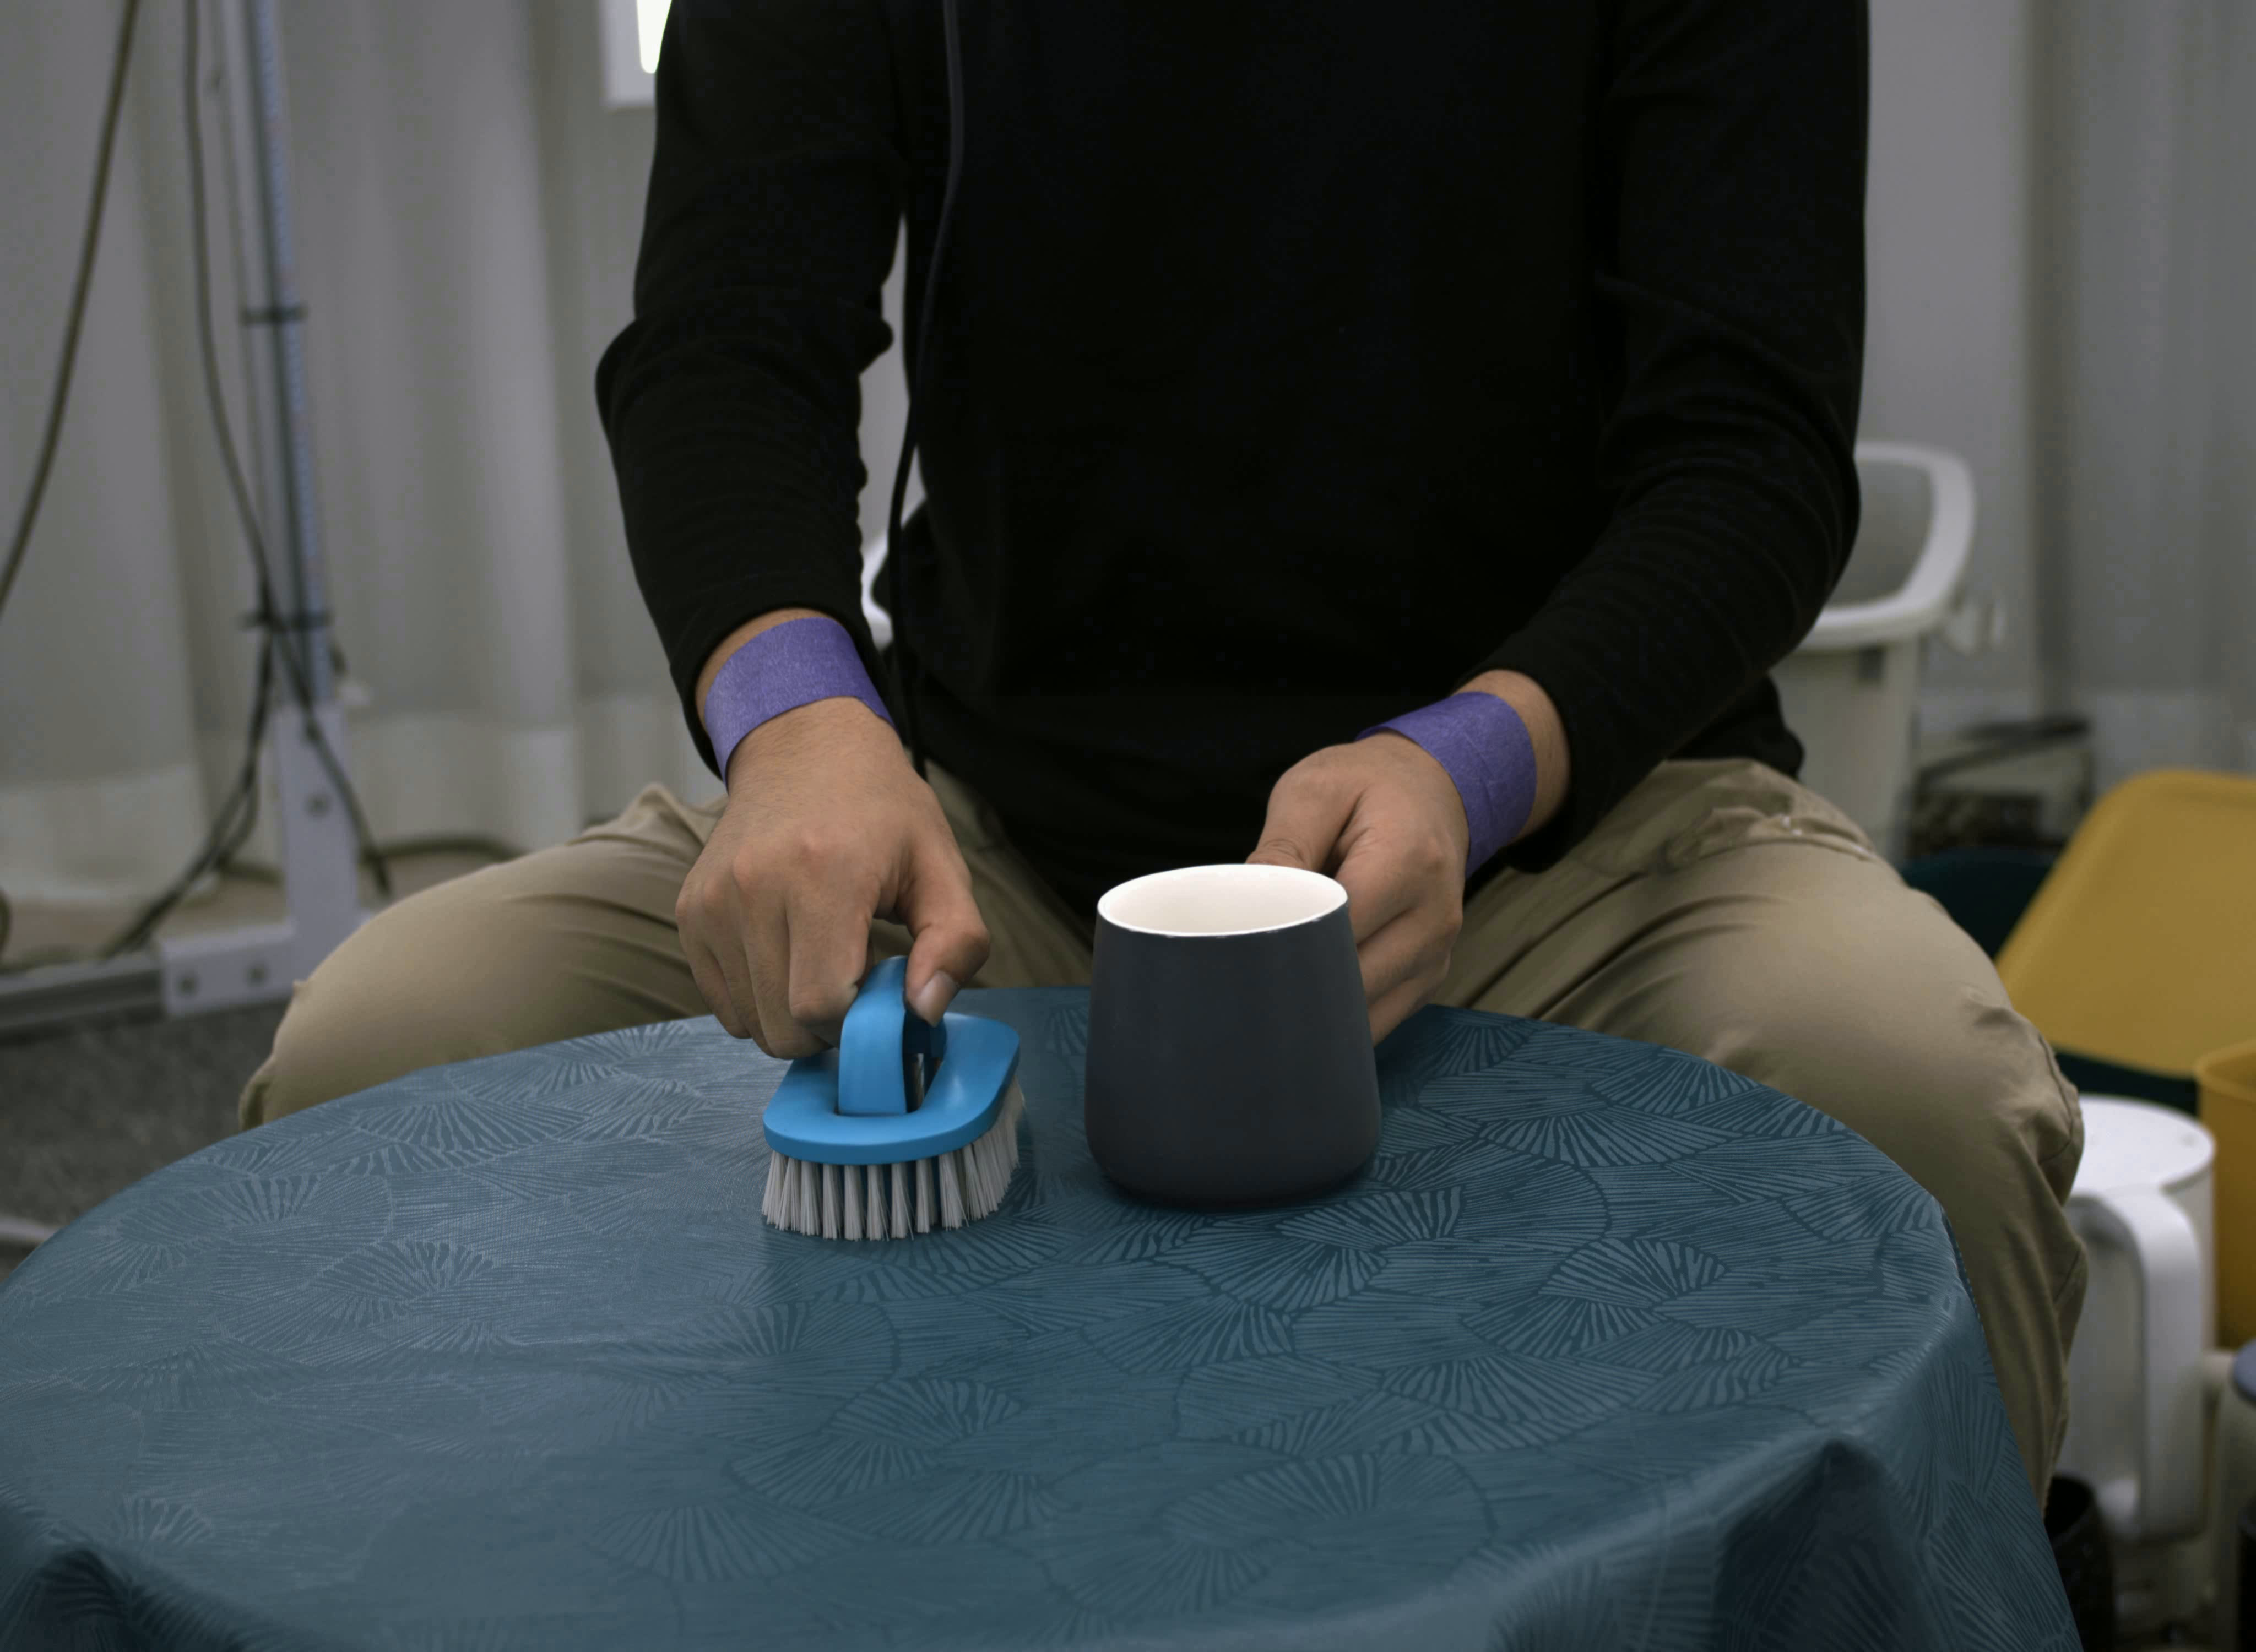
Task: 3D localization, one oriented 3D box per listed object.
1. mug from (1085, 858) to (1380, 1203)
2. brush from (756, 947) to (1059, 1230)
[{"bbox_3d":[0.035,0.060,1.732,0.093,0.089,0.124,1,17,14],"label":"mug"},{"bbox_3d":[-0.072,0.077,1.741,0.084,0.063,0.142,-5,14,10],"label":"brush"}]
